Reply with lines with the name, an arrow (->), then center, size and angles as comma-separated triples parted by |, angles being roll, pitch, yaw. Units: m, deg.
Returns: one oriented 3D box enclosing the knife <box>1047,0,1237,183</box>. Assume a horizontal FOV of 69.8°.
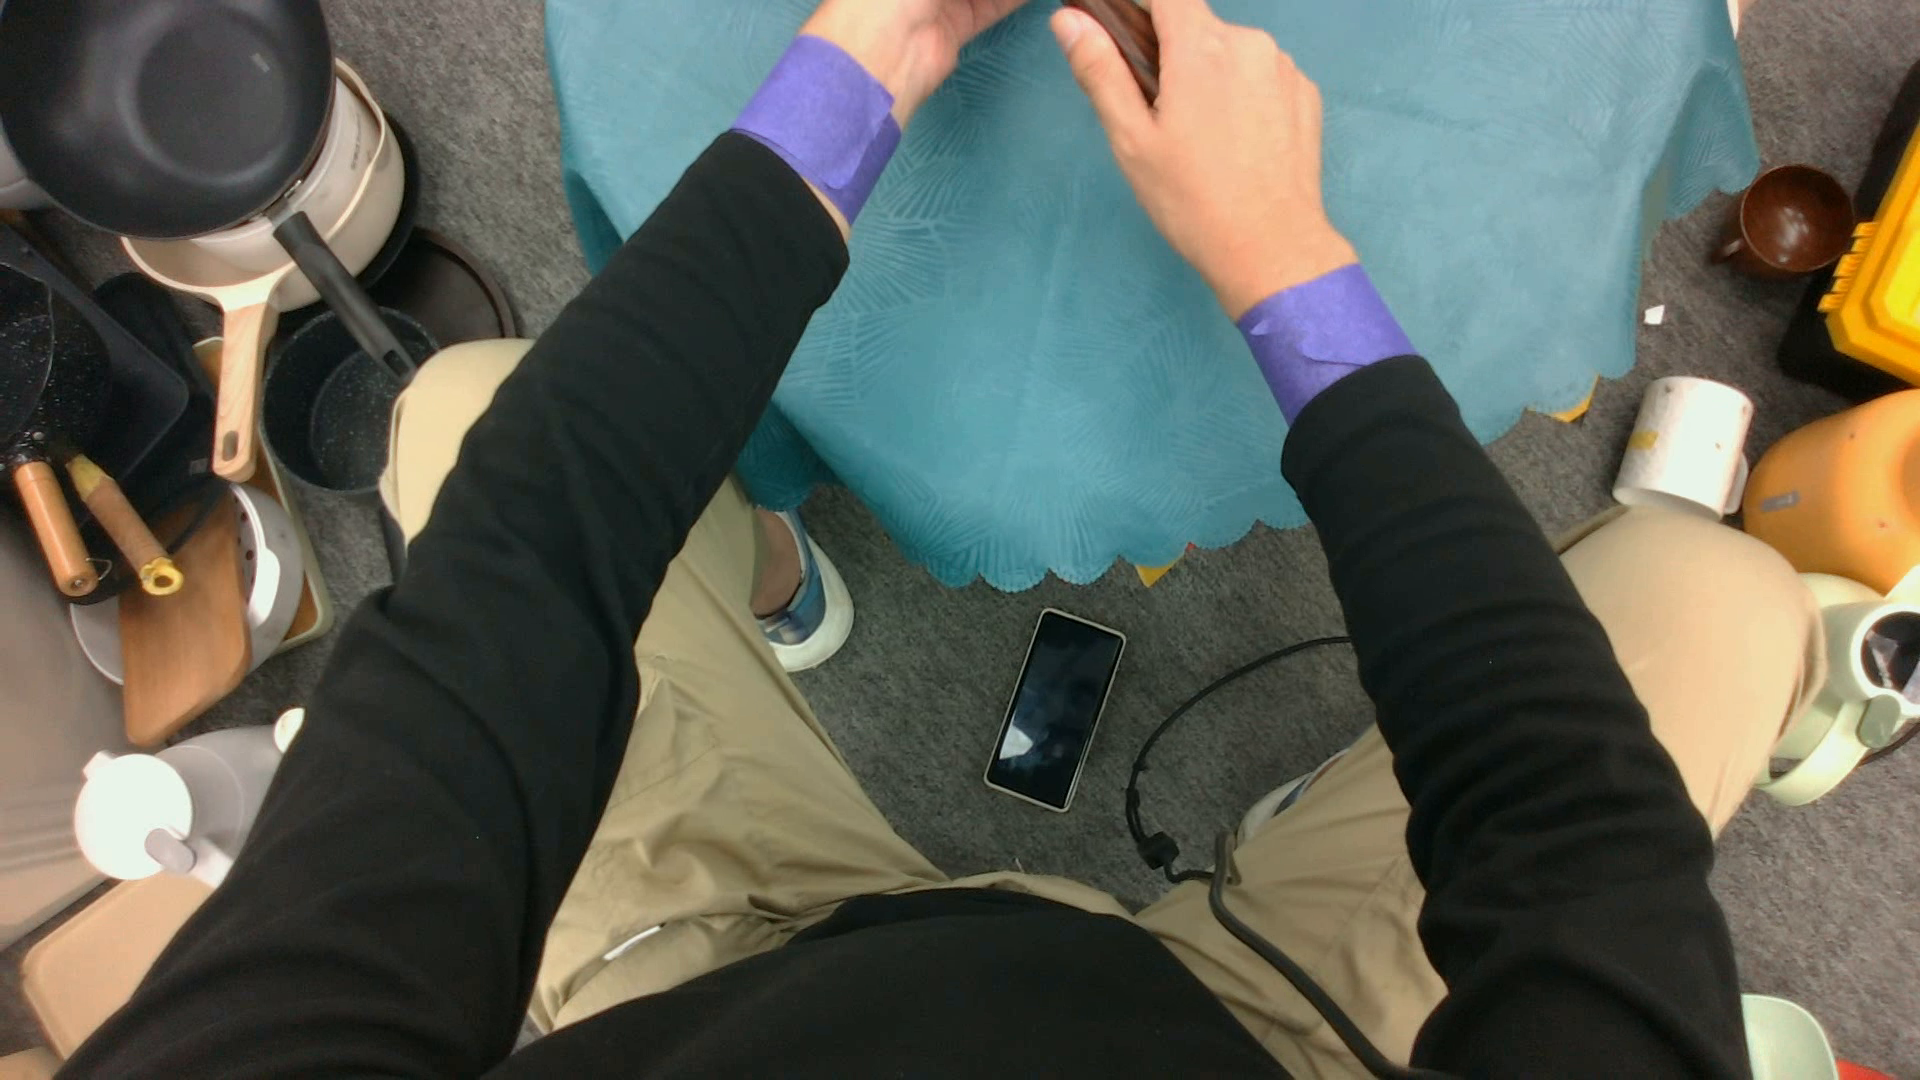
knife -> 0.028, -0.272, 0.591 | 0.289, 0.020, 0.050 | 49, 59, -12
